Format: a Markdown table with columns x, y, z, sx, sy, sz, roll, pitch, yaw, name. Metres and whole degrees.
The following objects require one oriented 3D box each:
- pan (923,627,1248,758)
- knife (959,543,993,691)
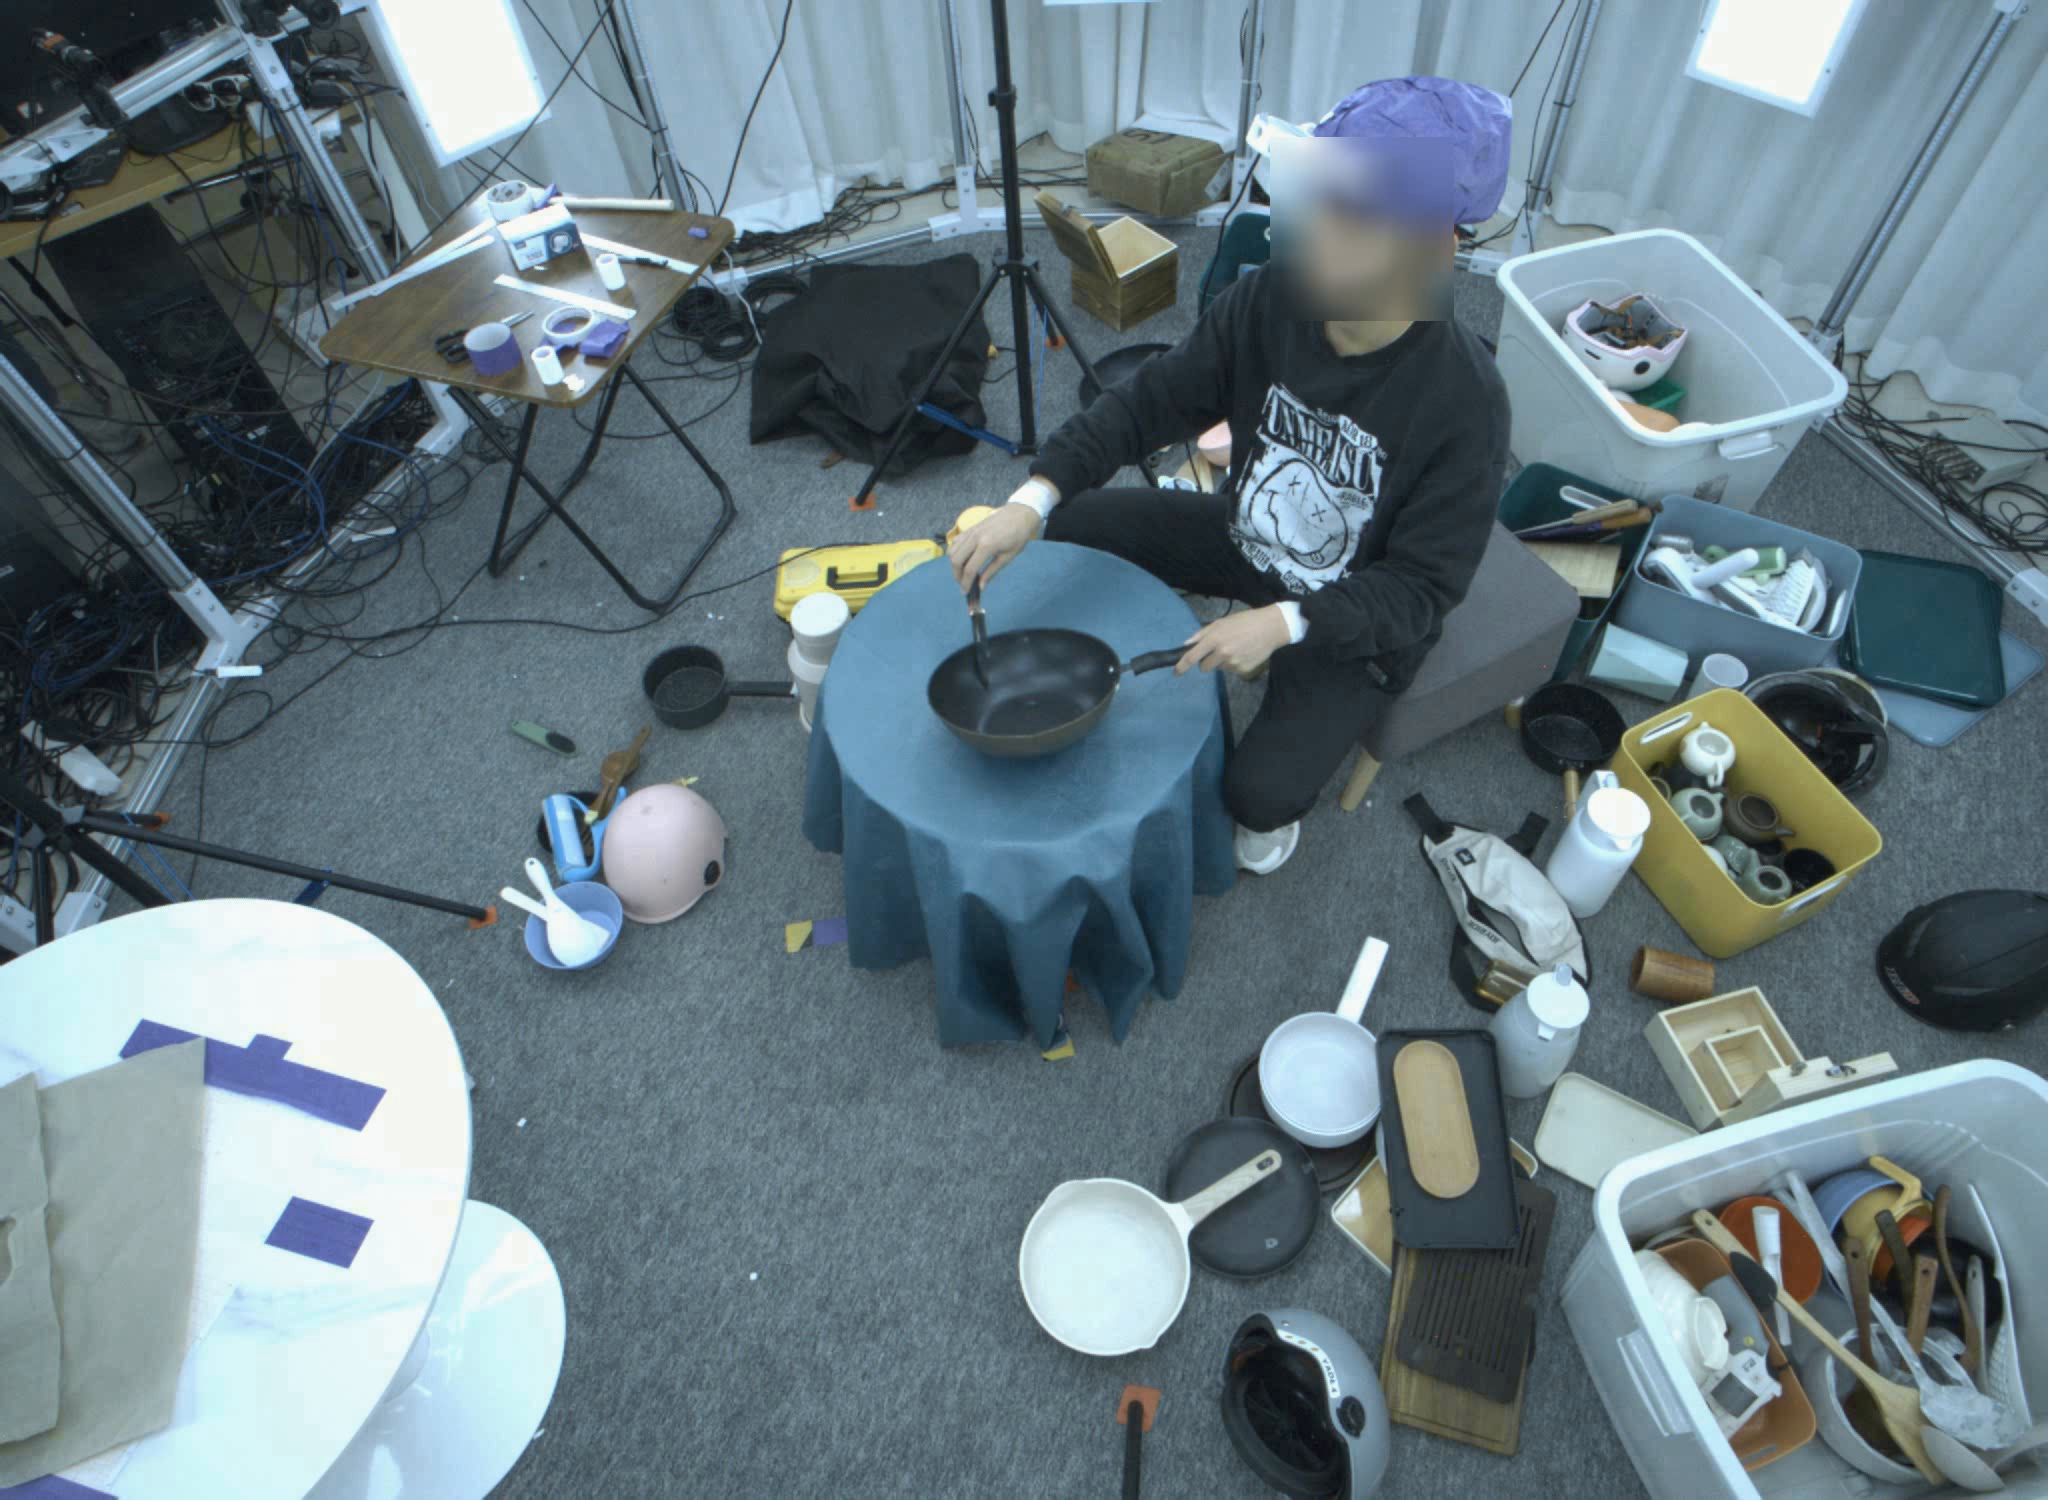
| x | y | z | sx | sy | sz | roll | pitch | yaw | name |
| --- | --- | --- | --- | --- | --- | --- | --- | --- | --- |
| 0.090 | -0.086 | 1.762 | 0.464 | 0.088 | 0.284 | -8 | 36 | -2 | pan |
| -0.072 | -0.199 | 1.834 | 0.026 | 0.017 | 0.225 | -11 | 93 | -35 | knife |
